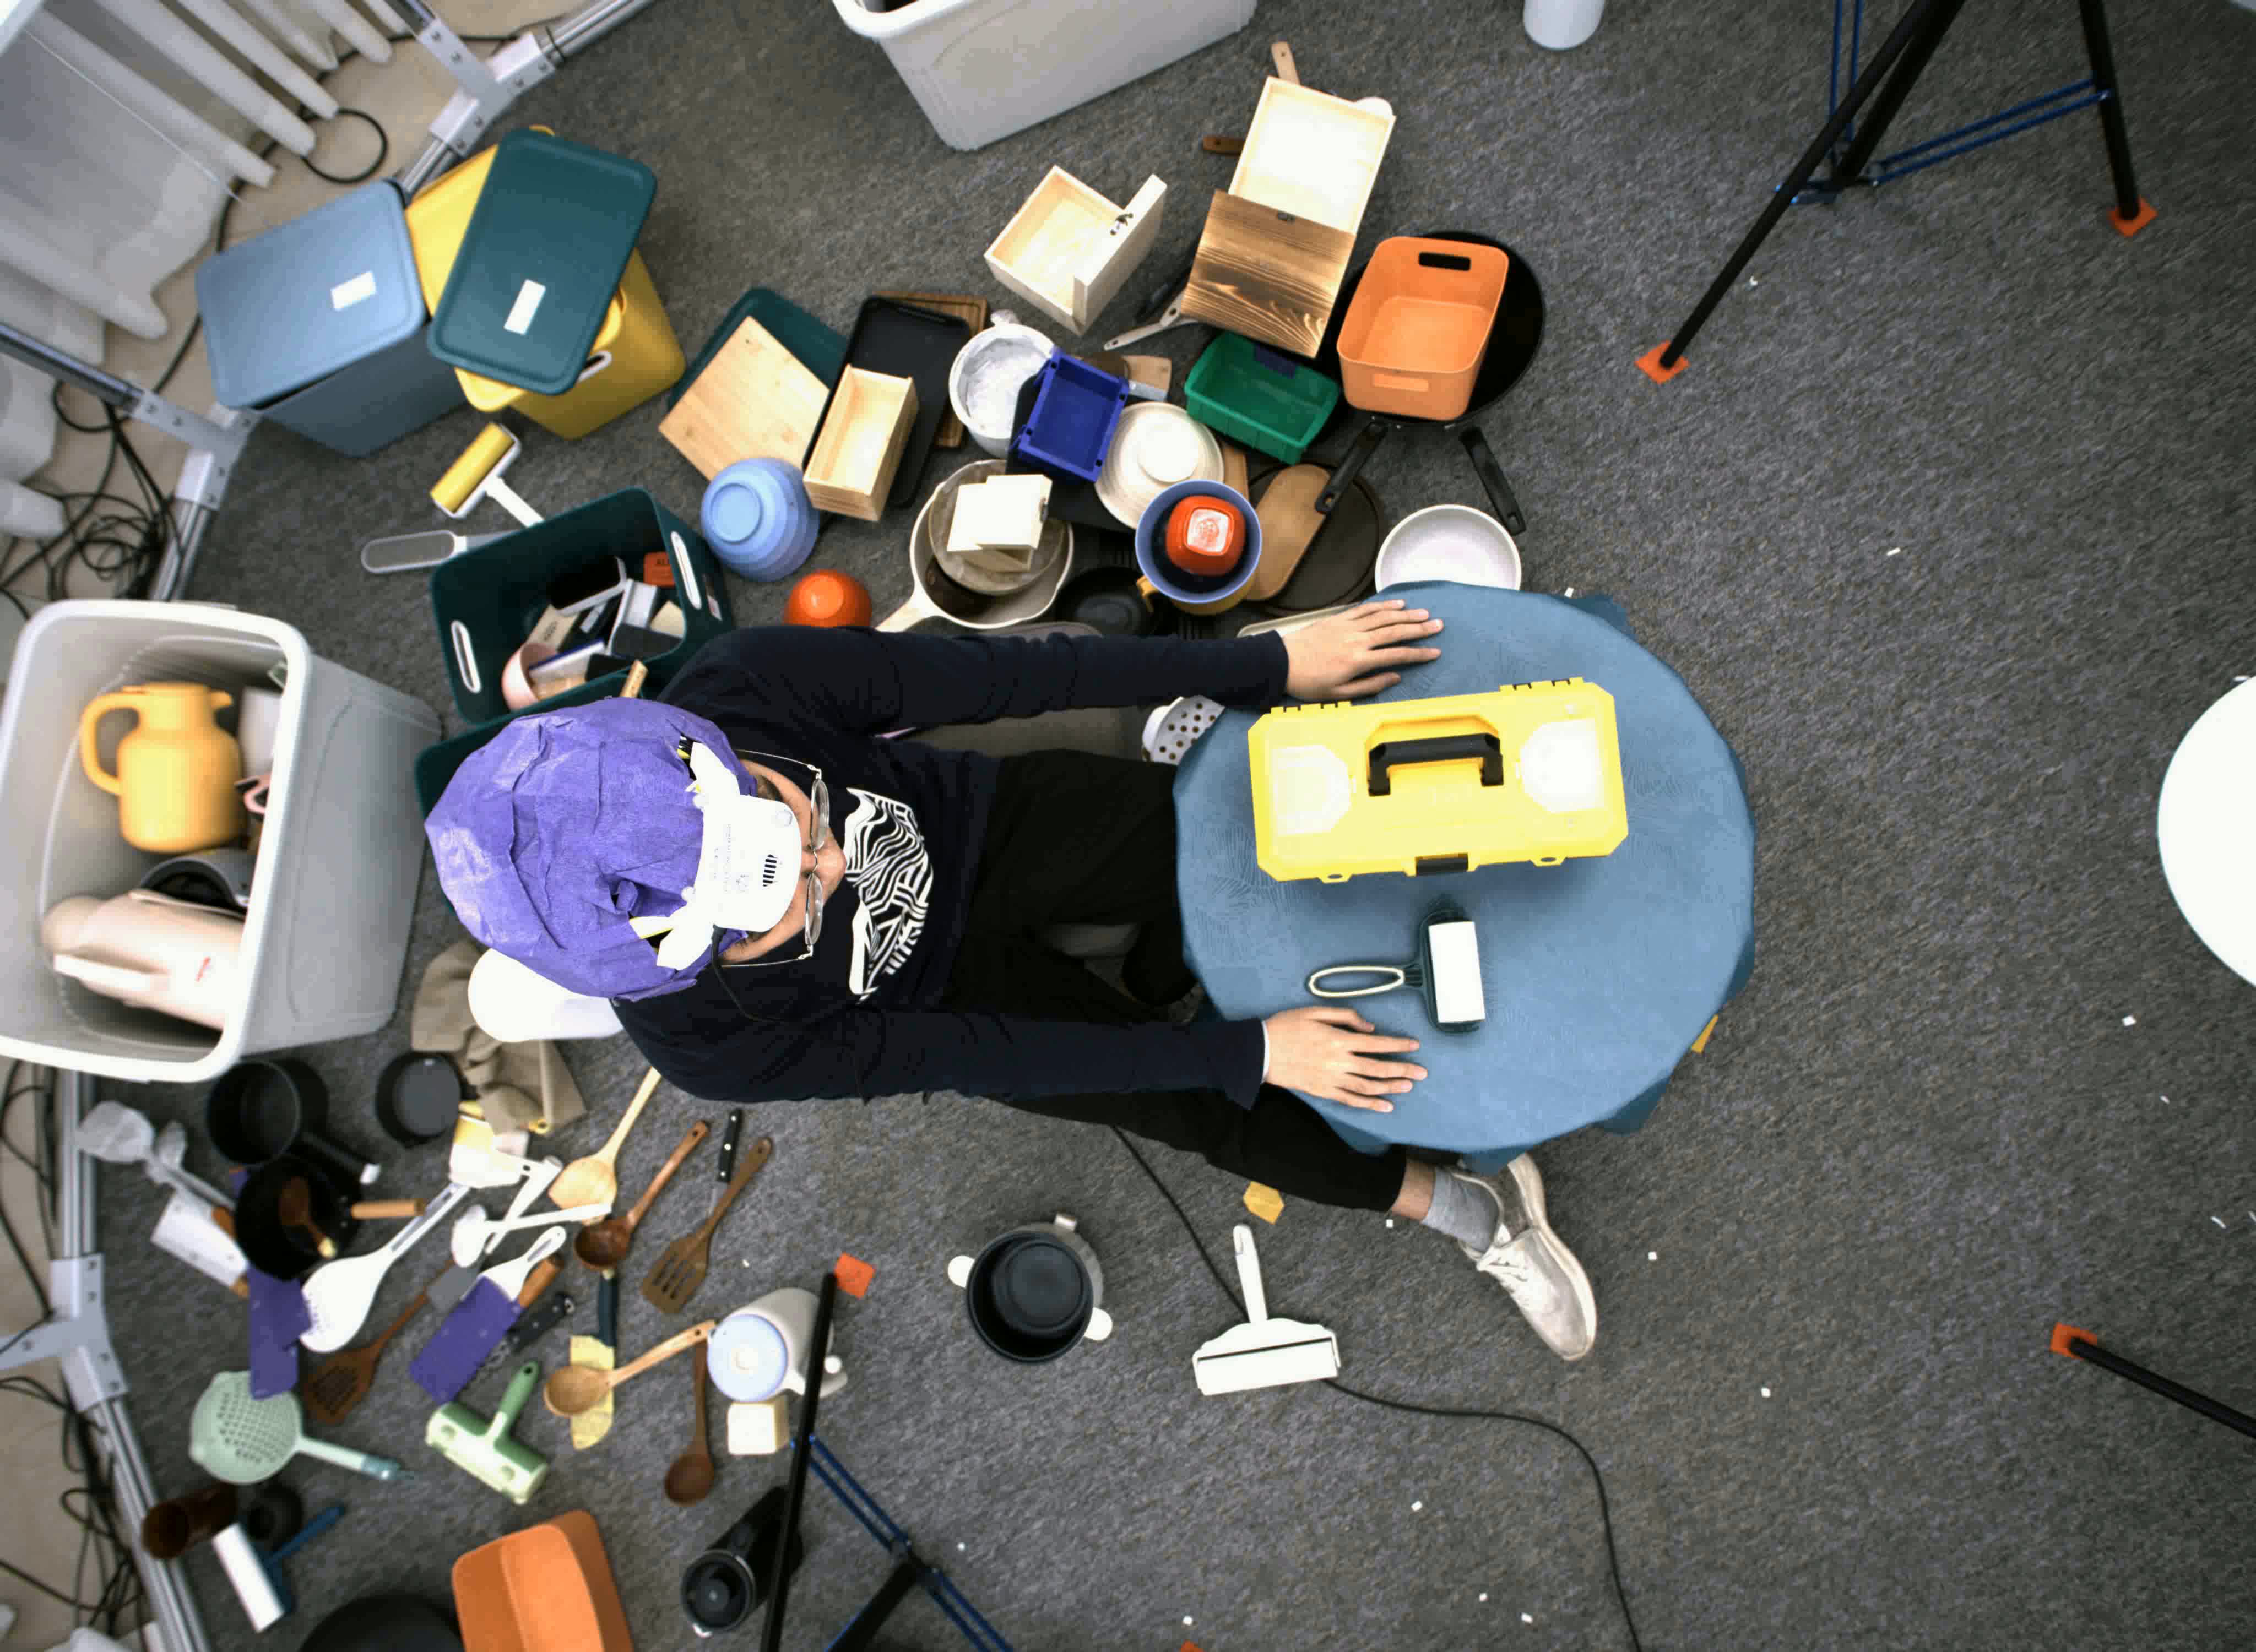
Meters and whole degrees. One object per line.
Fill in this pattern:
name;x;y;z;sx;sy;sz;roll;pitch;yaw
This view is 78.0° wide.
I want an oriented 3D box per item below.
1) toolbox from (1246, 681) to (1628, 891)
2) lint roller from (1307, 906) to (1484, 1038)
toolbox;0.302;-0.036;1.372;0.353;0.173;0.180;-5;84;11
lint roller;0.273;0.157;1.435;0.181;0.048;0.134;-7;86;14
